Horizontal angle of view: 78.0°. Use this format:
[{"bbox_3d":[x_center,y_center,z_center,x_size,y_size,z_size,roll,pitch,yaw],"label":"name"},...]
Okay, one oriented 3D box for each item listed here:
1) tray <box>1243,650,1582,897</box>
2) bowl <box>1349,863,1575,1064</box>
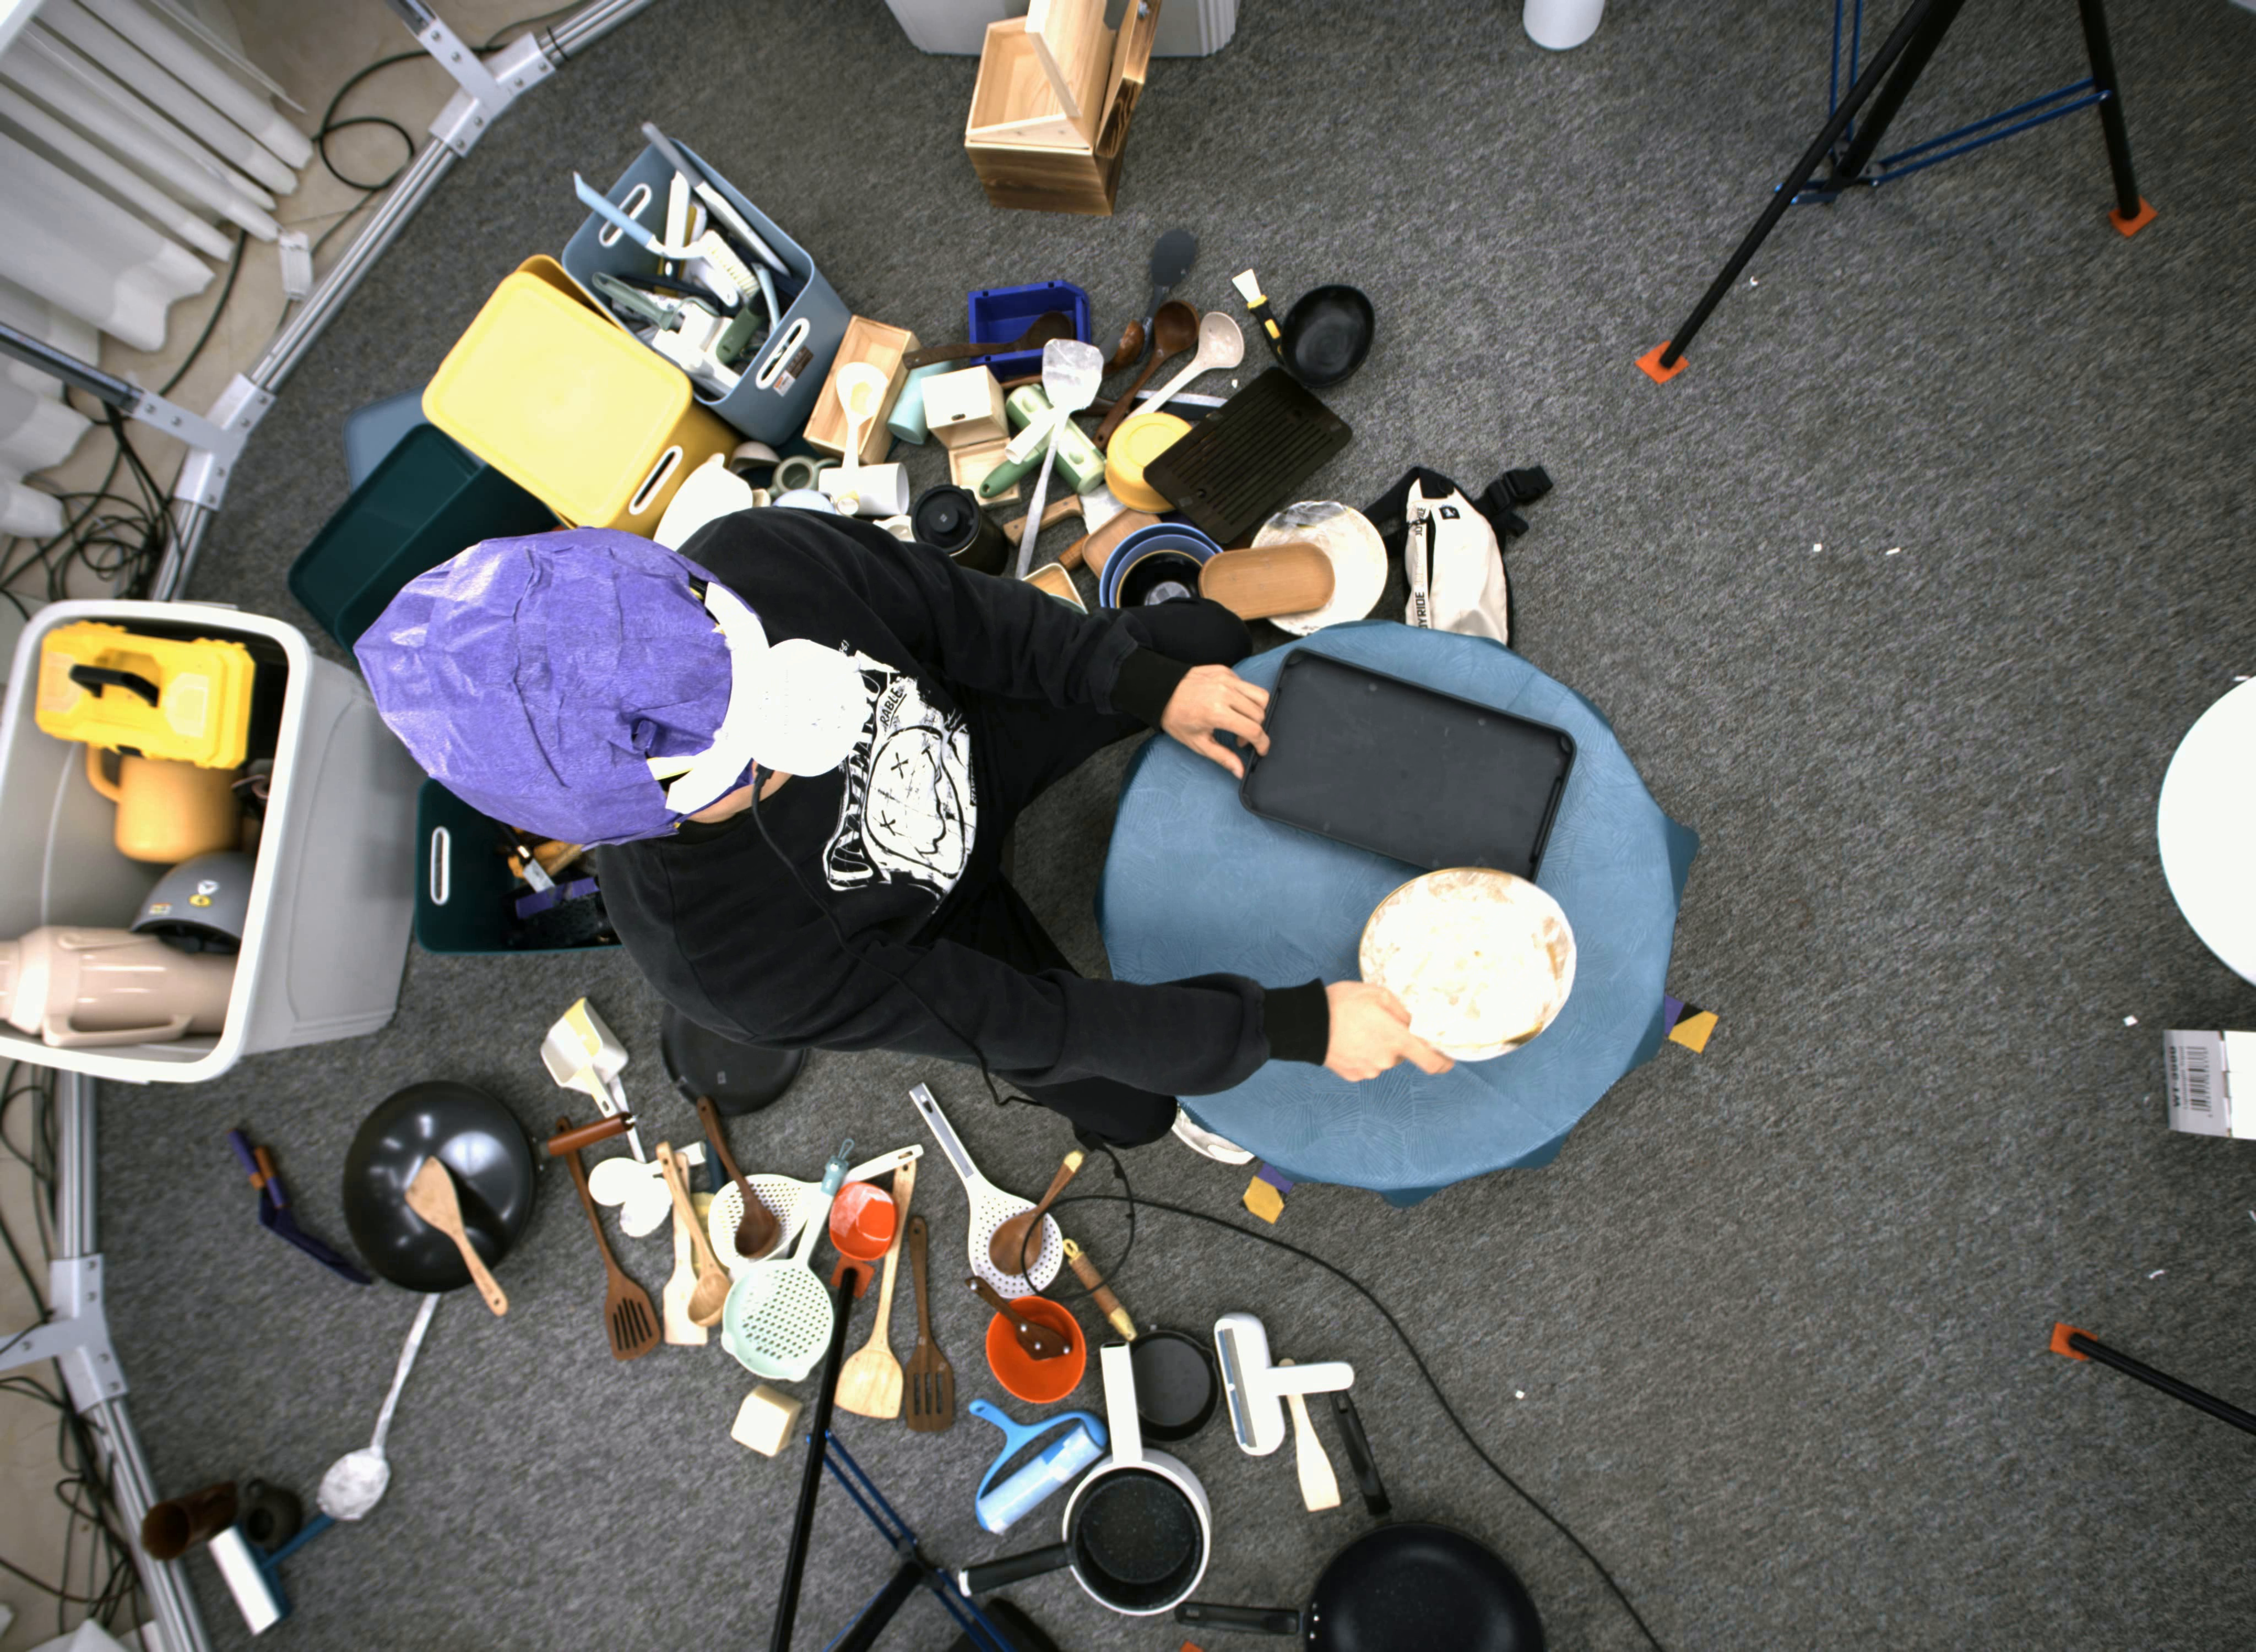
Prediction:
[{"bbox_3d":[0.295,-0.054,1.440,0.318,0.037,0.184,19,91,8],"label":"tray"},{"bbox_3d":[0.326,0.148,1.351,0.216,0.096,0.209,-8,55,11],"label":"bowl"}]
